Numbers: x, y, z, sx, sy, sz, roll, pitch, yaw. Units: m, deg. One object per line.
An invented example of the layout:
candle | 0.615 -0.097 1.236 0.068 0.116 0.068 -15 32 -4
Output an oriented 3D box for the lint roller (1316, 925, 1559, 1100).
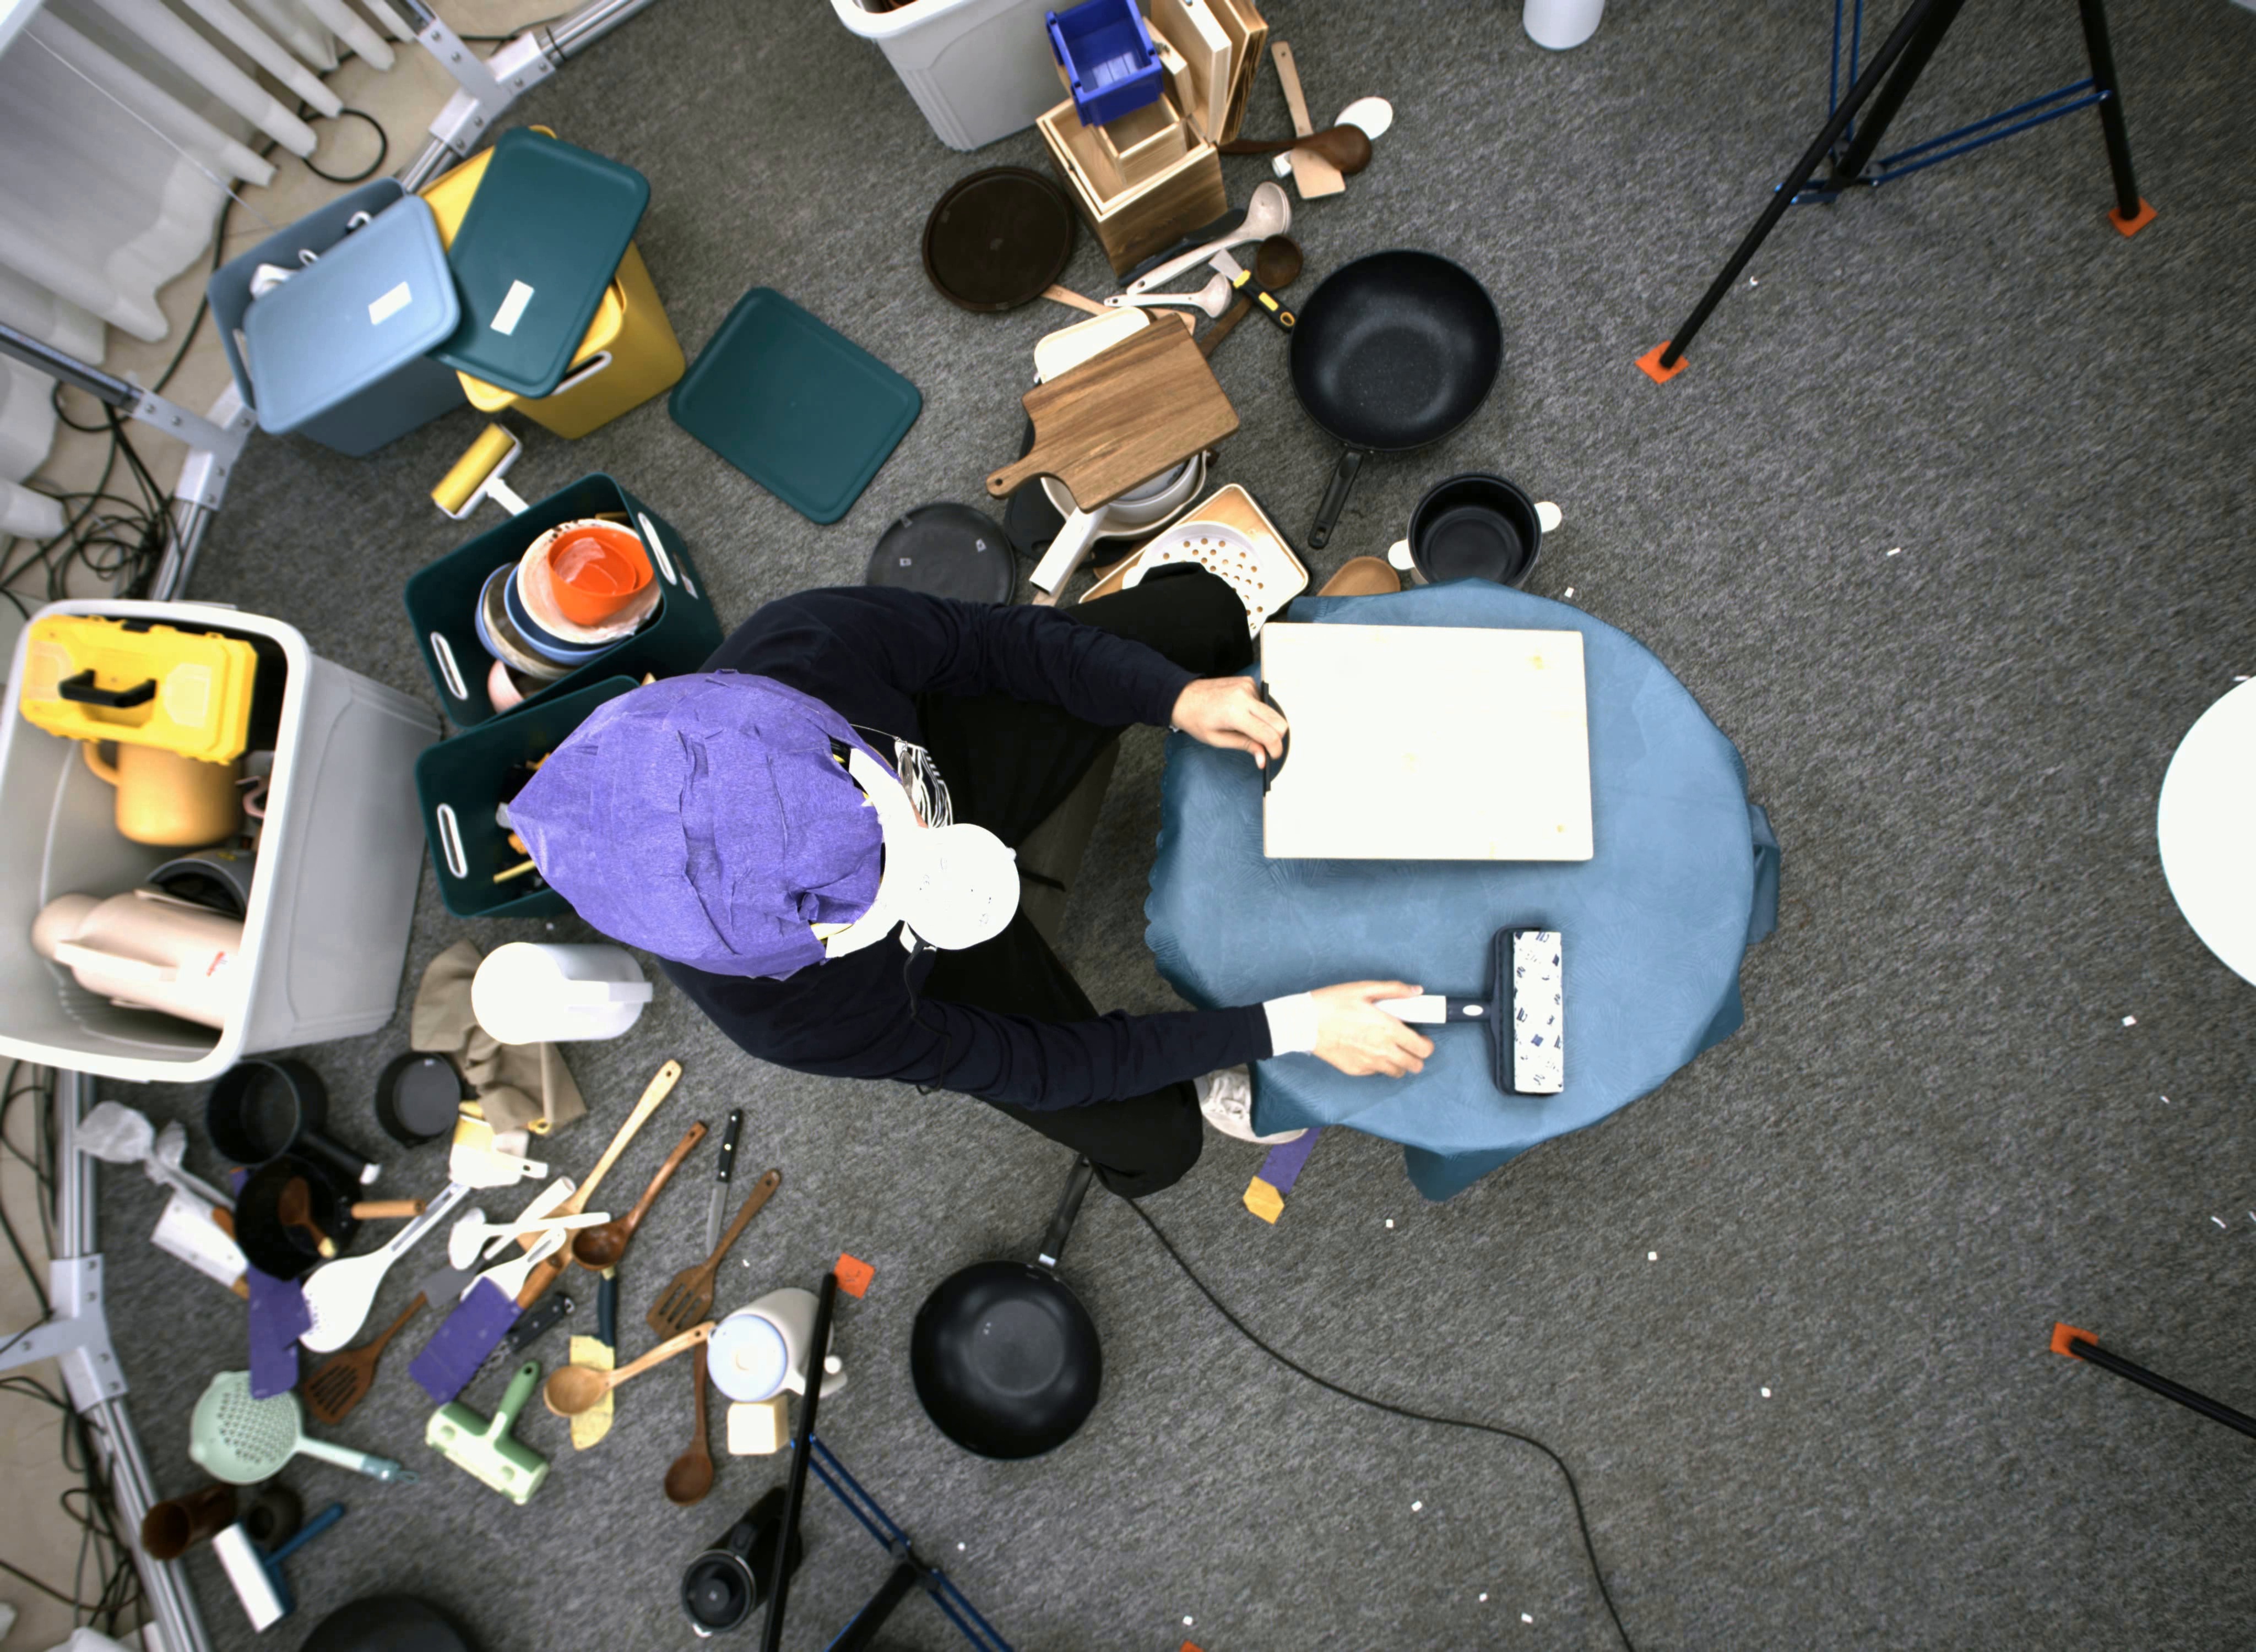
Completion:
lint roller | 0.317 0.189 1.424 0.248 0.050 0.175 -1 87 13

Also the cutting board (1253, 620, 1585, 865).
cutting board | 0.300 -0.086 1.406 0.348 0.024 0.249 0 85 -5
